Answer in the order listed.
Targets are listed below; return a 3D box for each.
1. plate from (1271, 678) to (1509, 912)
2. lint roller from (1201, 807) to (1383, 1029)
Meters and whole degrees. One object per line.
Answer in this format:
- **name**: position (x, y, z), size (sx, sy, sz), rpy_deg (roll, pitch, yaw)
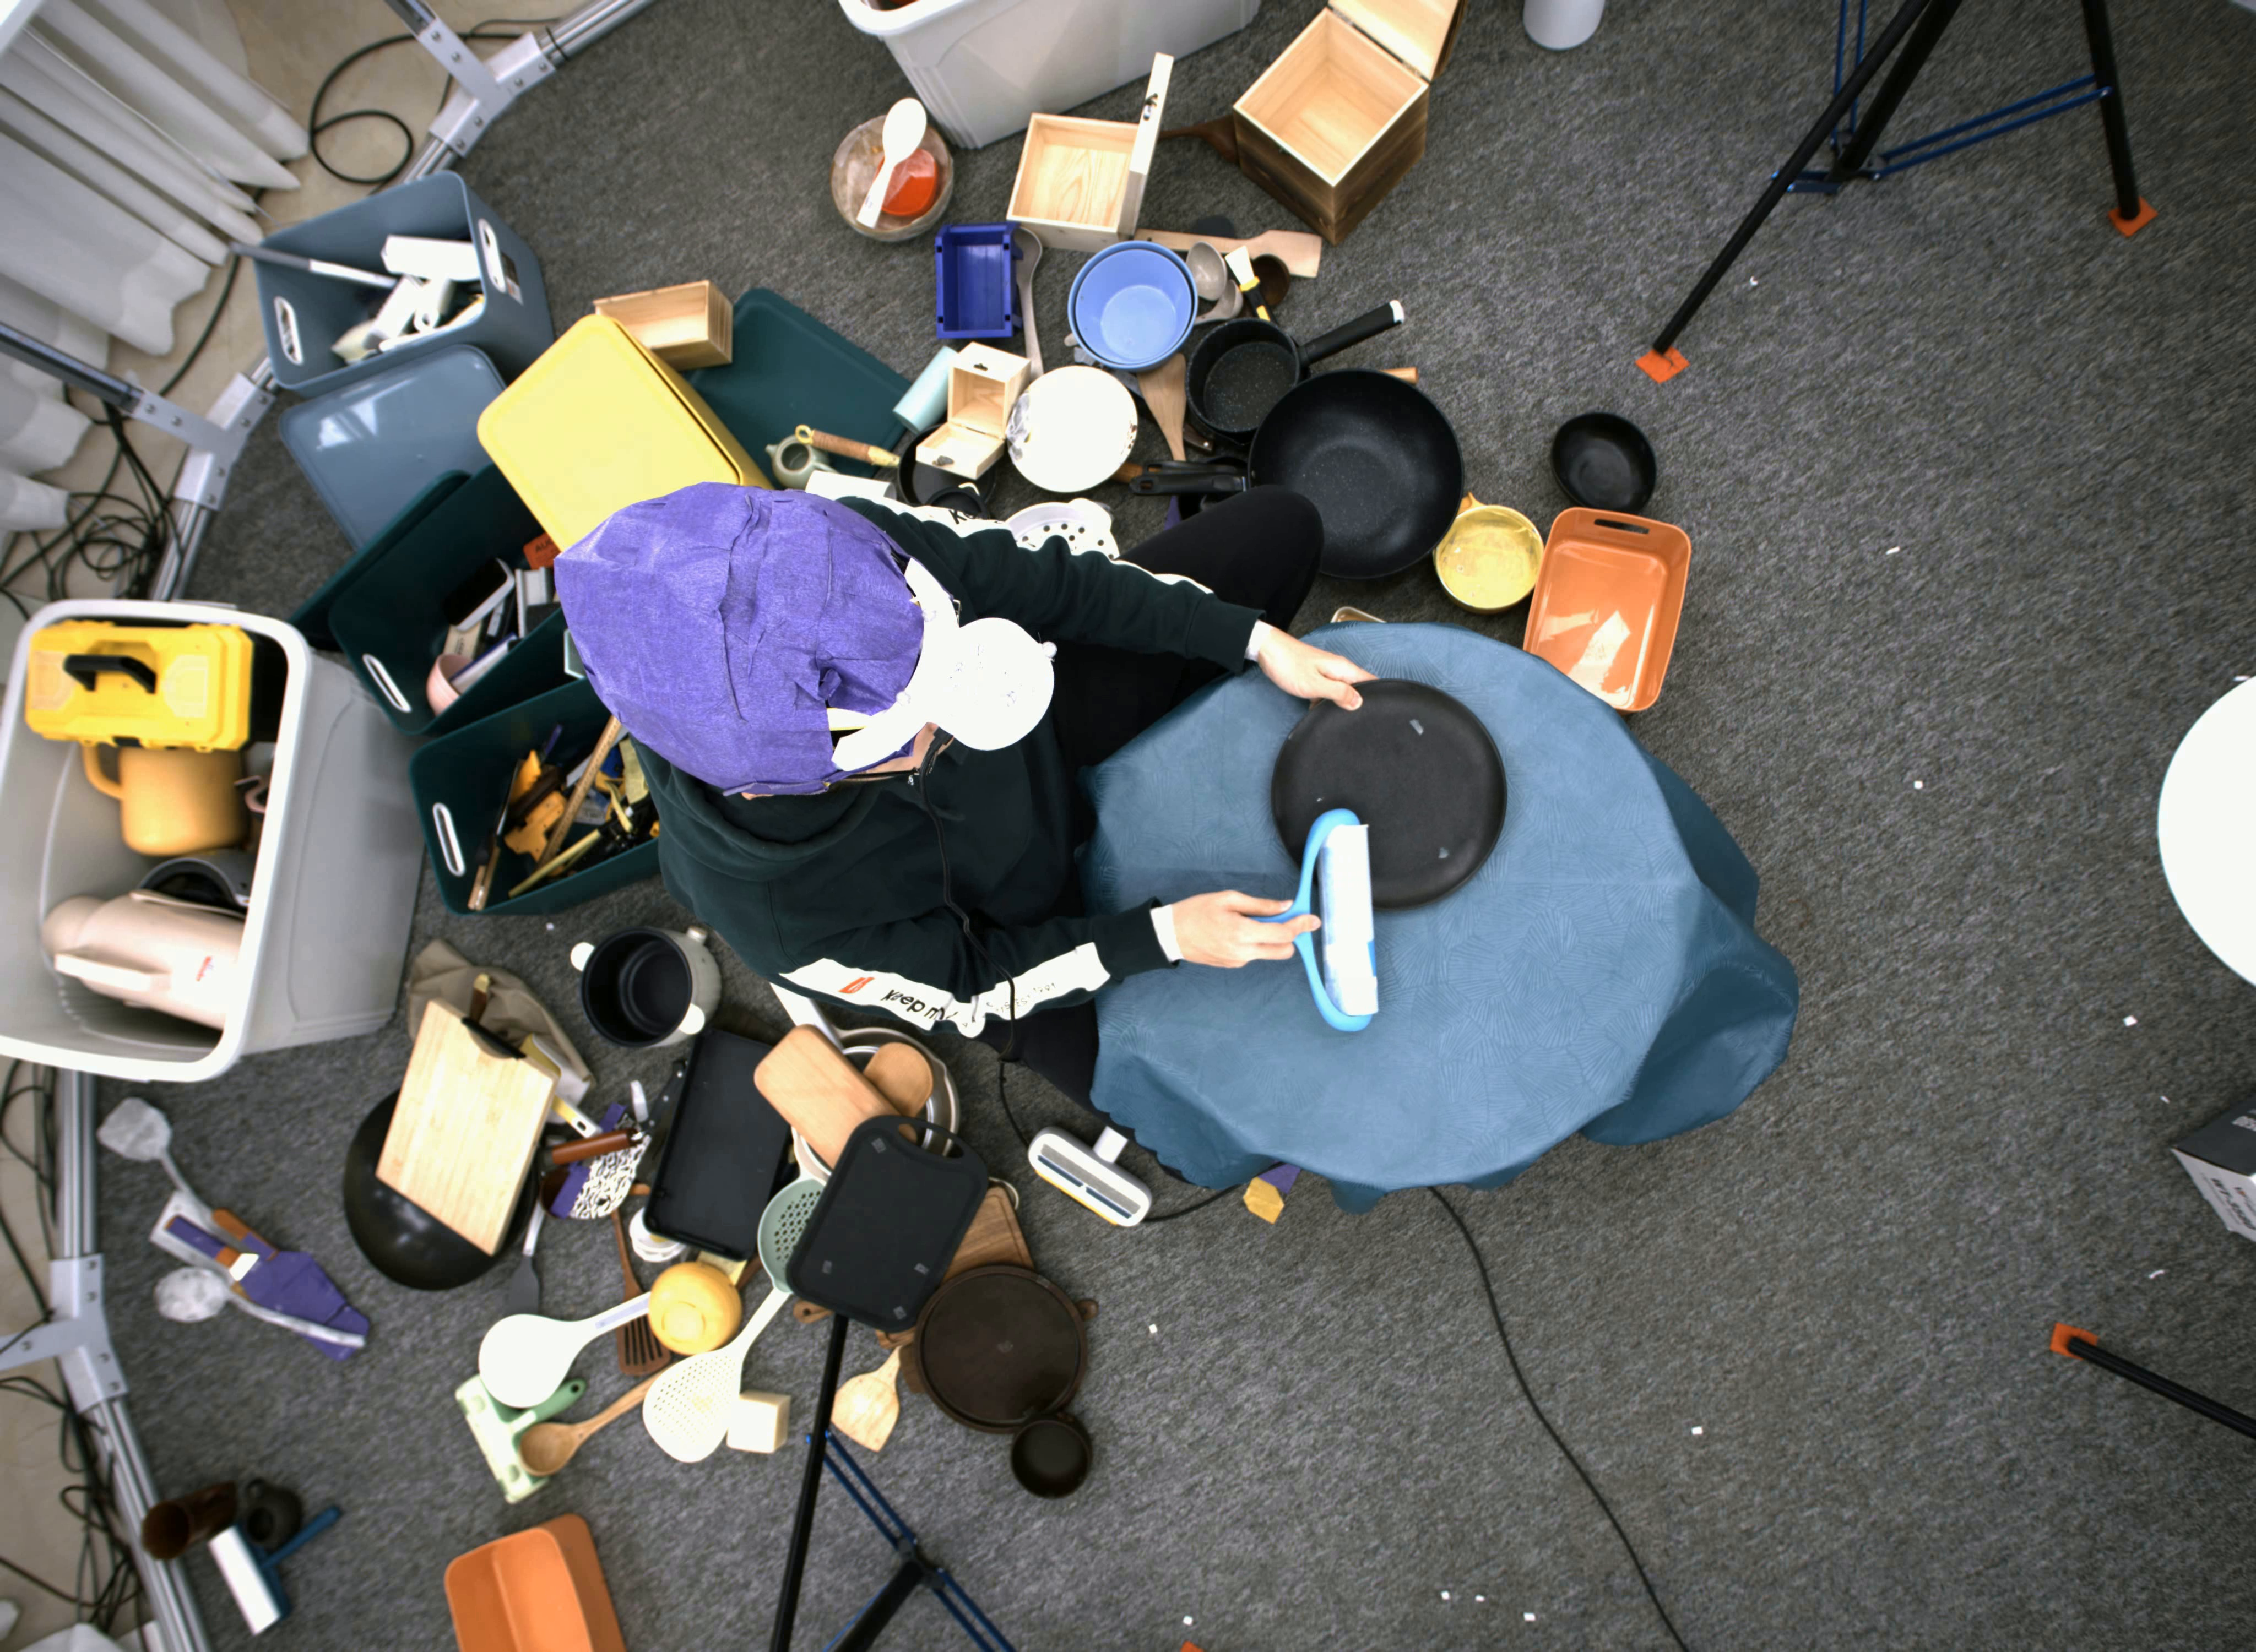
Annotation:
- **plate**: position (0.272, -0.034, 1.437), size (0.245, 0.023, 0.245), rpy_deg (1, 95, 11)
- **lint roller**: position (0.167, 0.101, 1.416), size (0.180, 0.068, 0.229), rpy_deg (-7, 92, -3)
